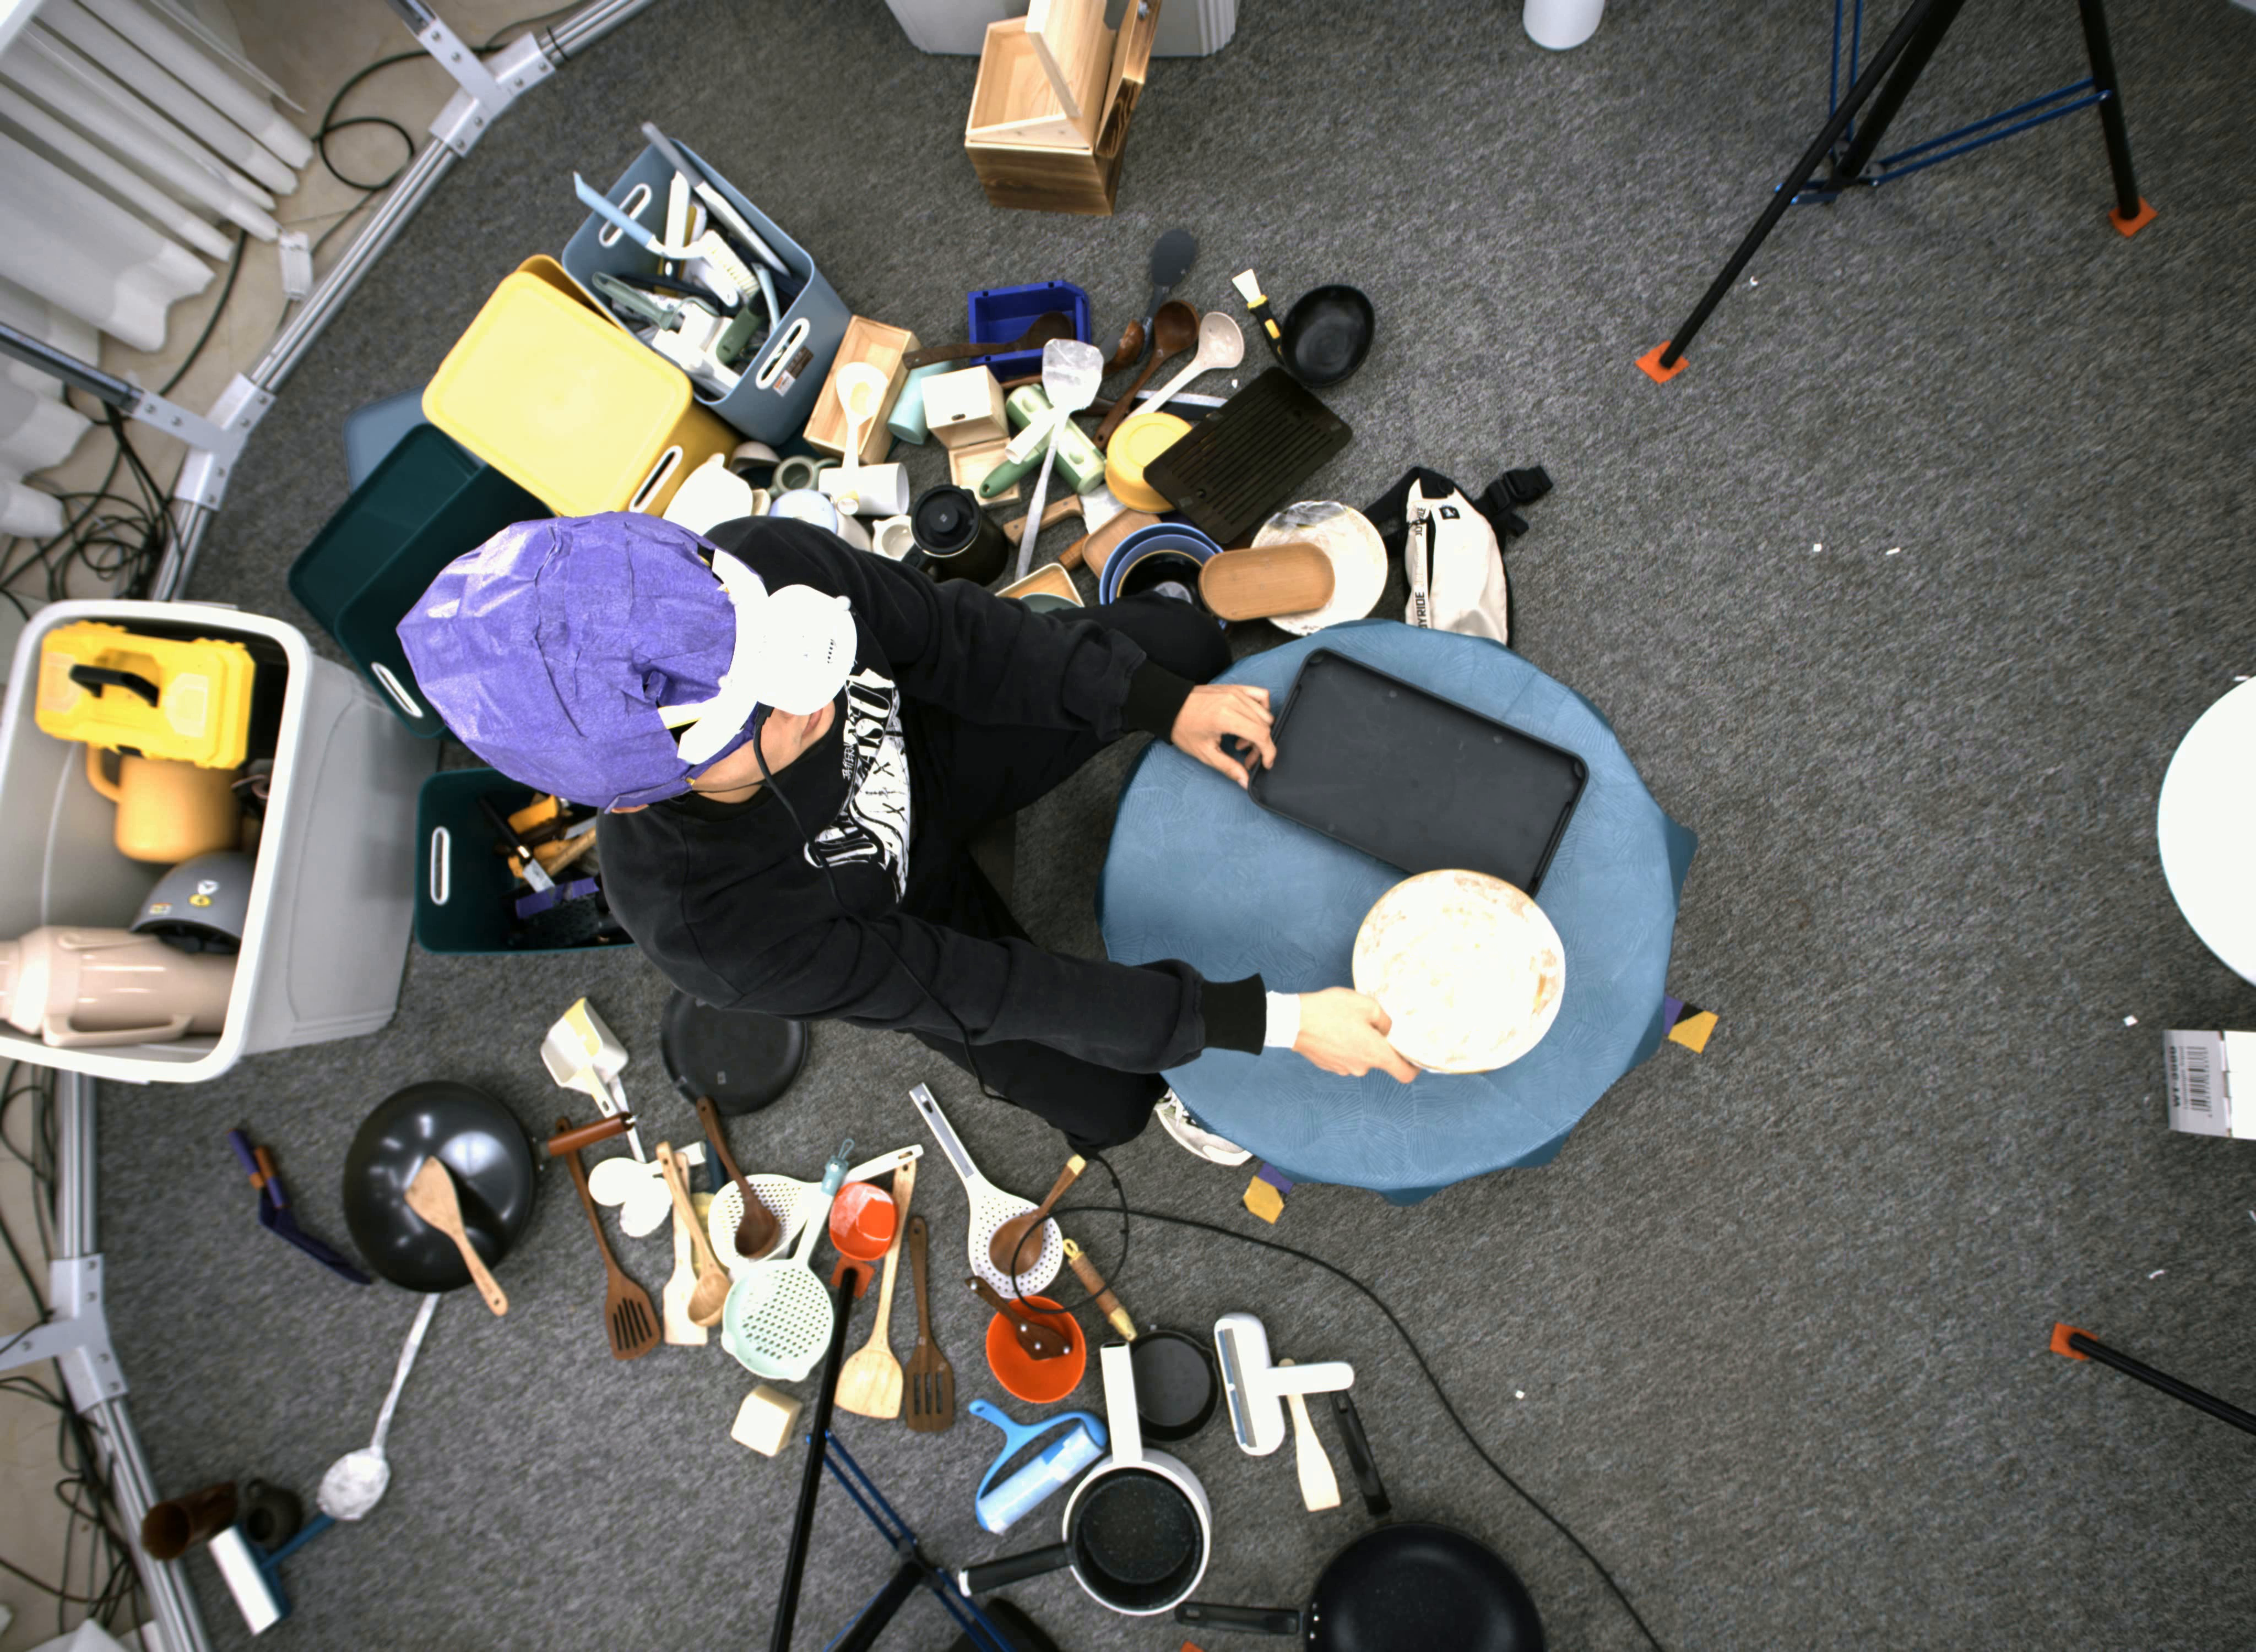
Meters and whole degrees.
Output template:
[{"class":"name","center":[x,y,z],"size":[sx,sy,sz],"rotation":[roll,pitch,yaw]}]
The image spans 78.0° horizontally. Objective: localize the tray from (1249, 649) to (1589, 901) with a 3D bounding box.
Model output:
[{"class":"tray","center":[0.302,-0.044,1.443],"size":[0.318,0.037,0.184],"rotation":[26,91,8]}]

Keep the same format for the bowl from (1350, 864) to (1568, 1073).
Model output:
[{"class":"bowl","center":[0.323,0.146,1.368],"size":[0.215,0.095,0.211],"rotation":[-3,74,8]}]
